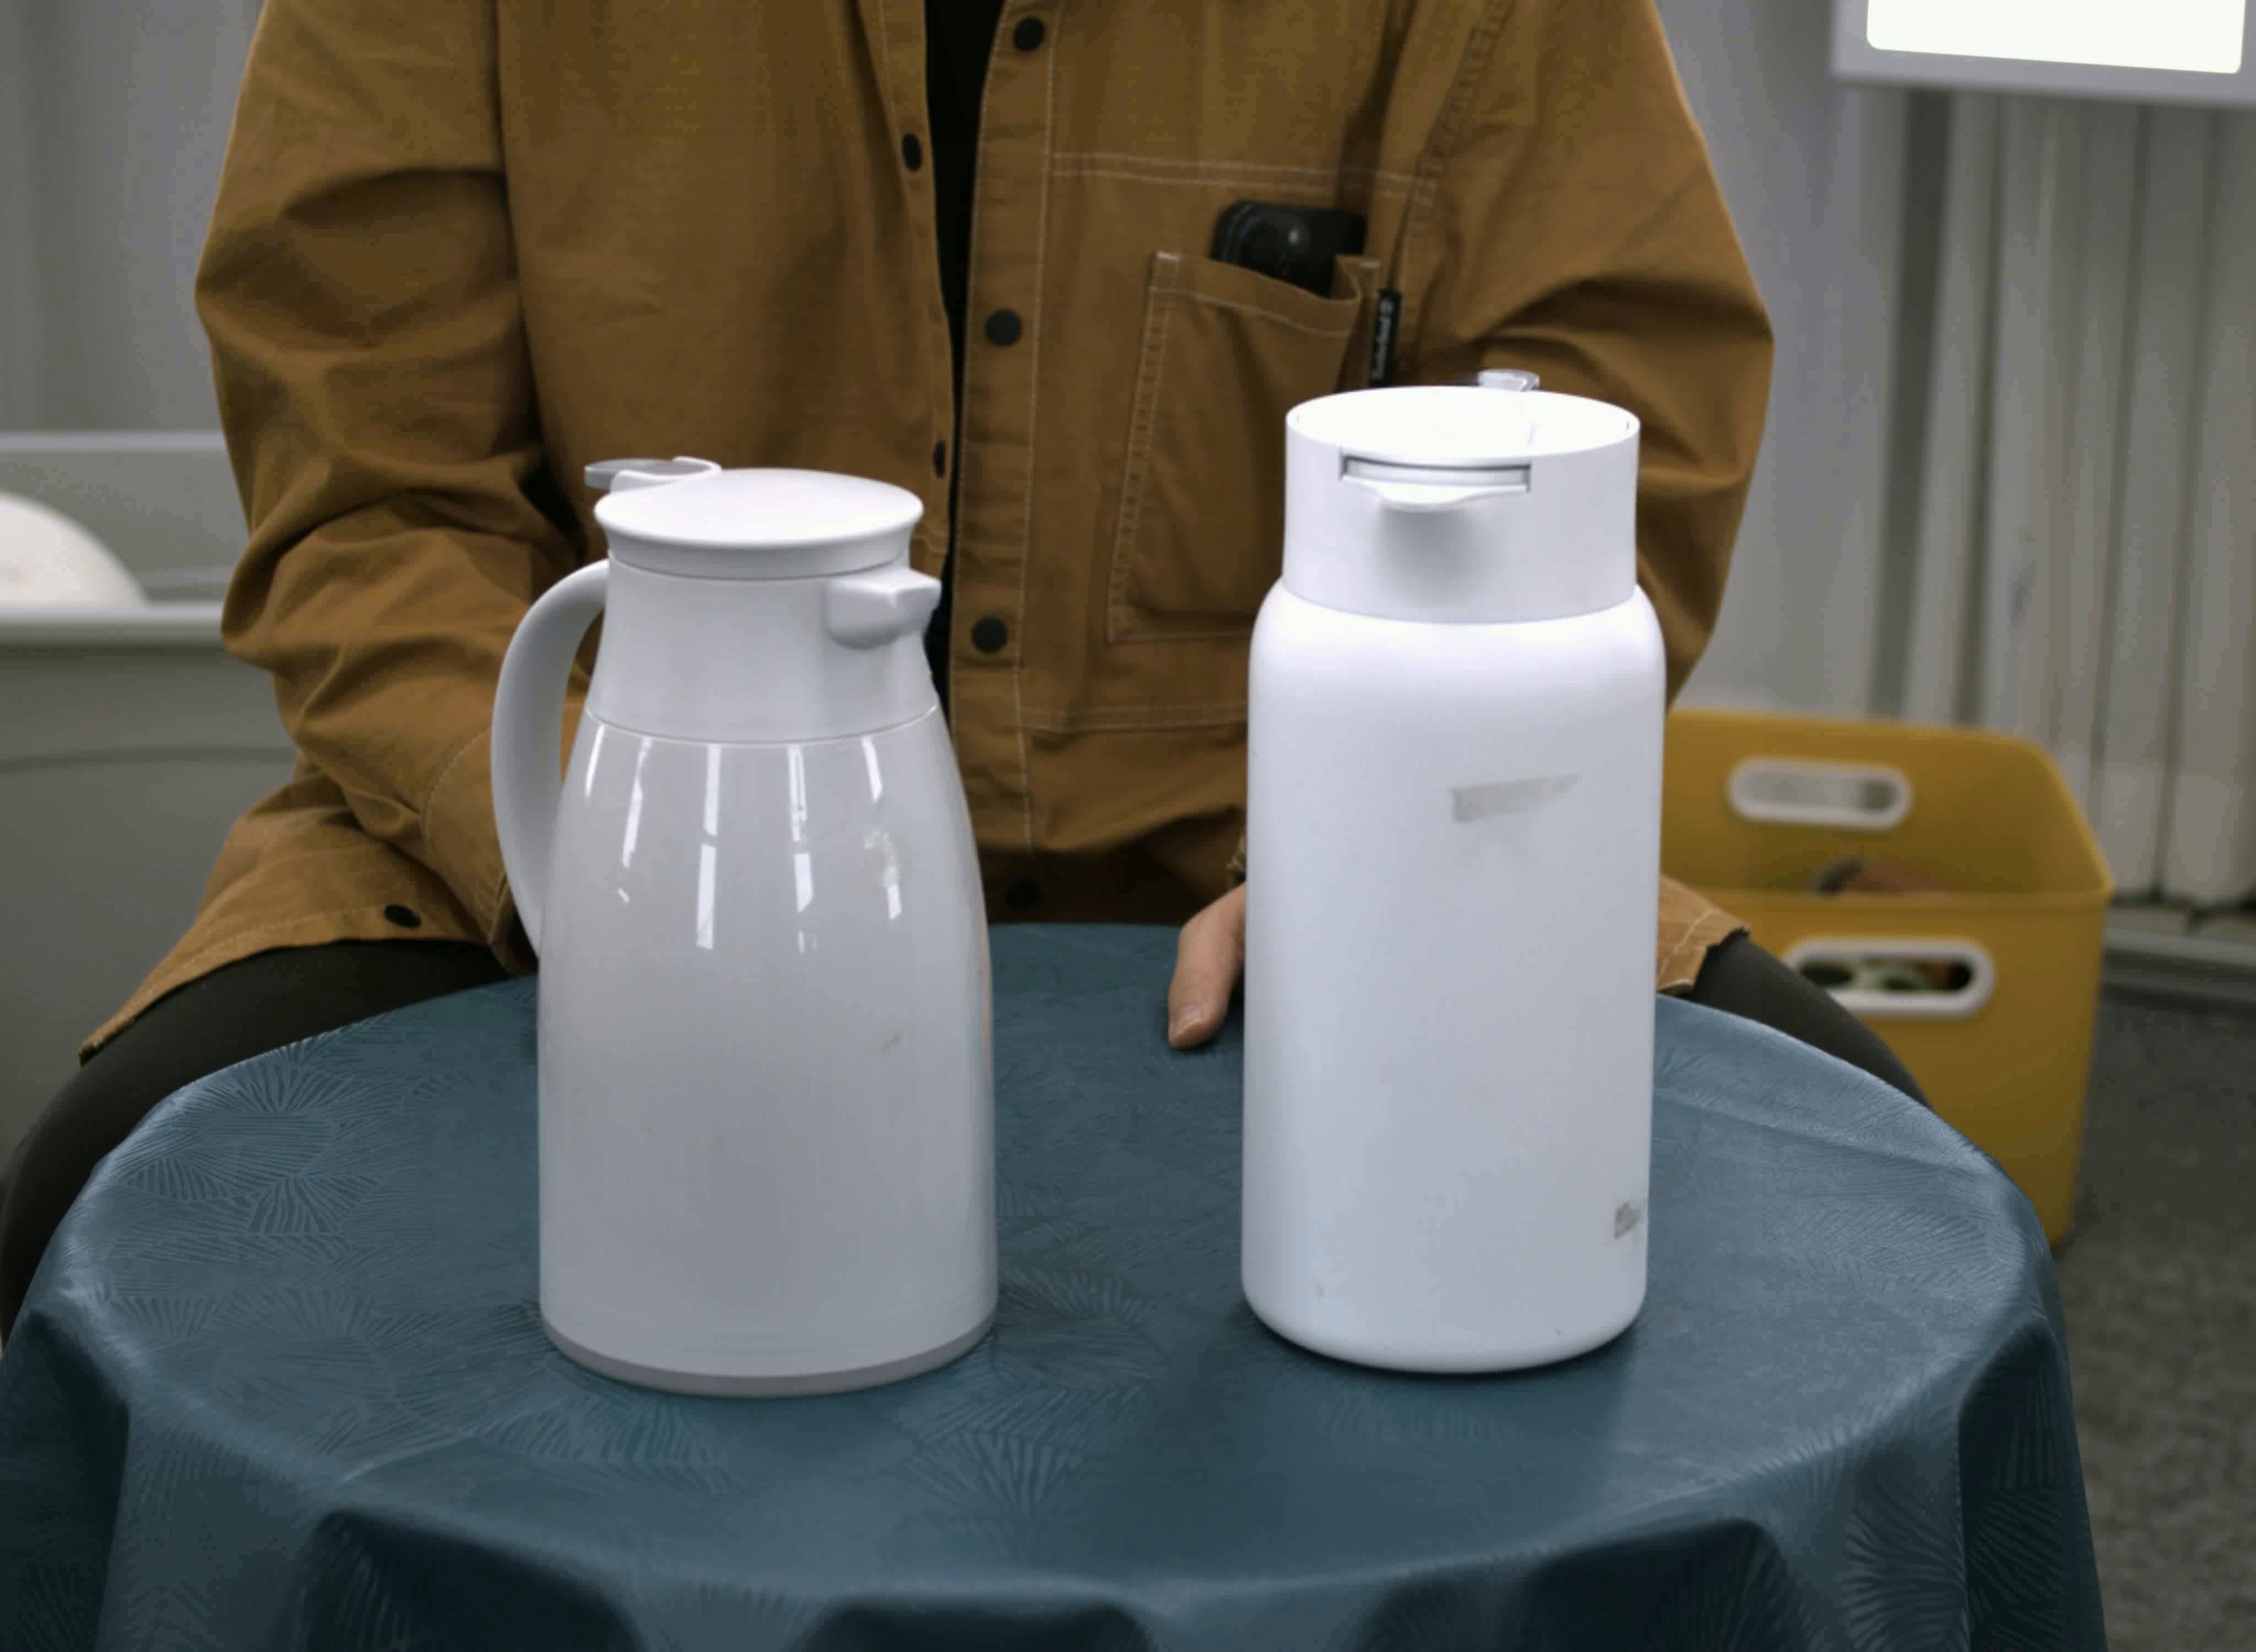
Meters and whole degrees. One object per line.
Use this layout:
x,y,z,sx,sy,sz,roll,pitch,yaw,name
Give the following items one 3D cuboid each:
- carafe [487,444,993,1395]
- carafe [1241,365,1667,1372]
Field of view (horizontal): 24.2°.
-0.118,0.018,1.491,0.165,0.250,0.133,12,20,39,carafe
0.094,0.007,1.501,0.123,0.271,0.172,2,16,13,carafe
